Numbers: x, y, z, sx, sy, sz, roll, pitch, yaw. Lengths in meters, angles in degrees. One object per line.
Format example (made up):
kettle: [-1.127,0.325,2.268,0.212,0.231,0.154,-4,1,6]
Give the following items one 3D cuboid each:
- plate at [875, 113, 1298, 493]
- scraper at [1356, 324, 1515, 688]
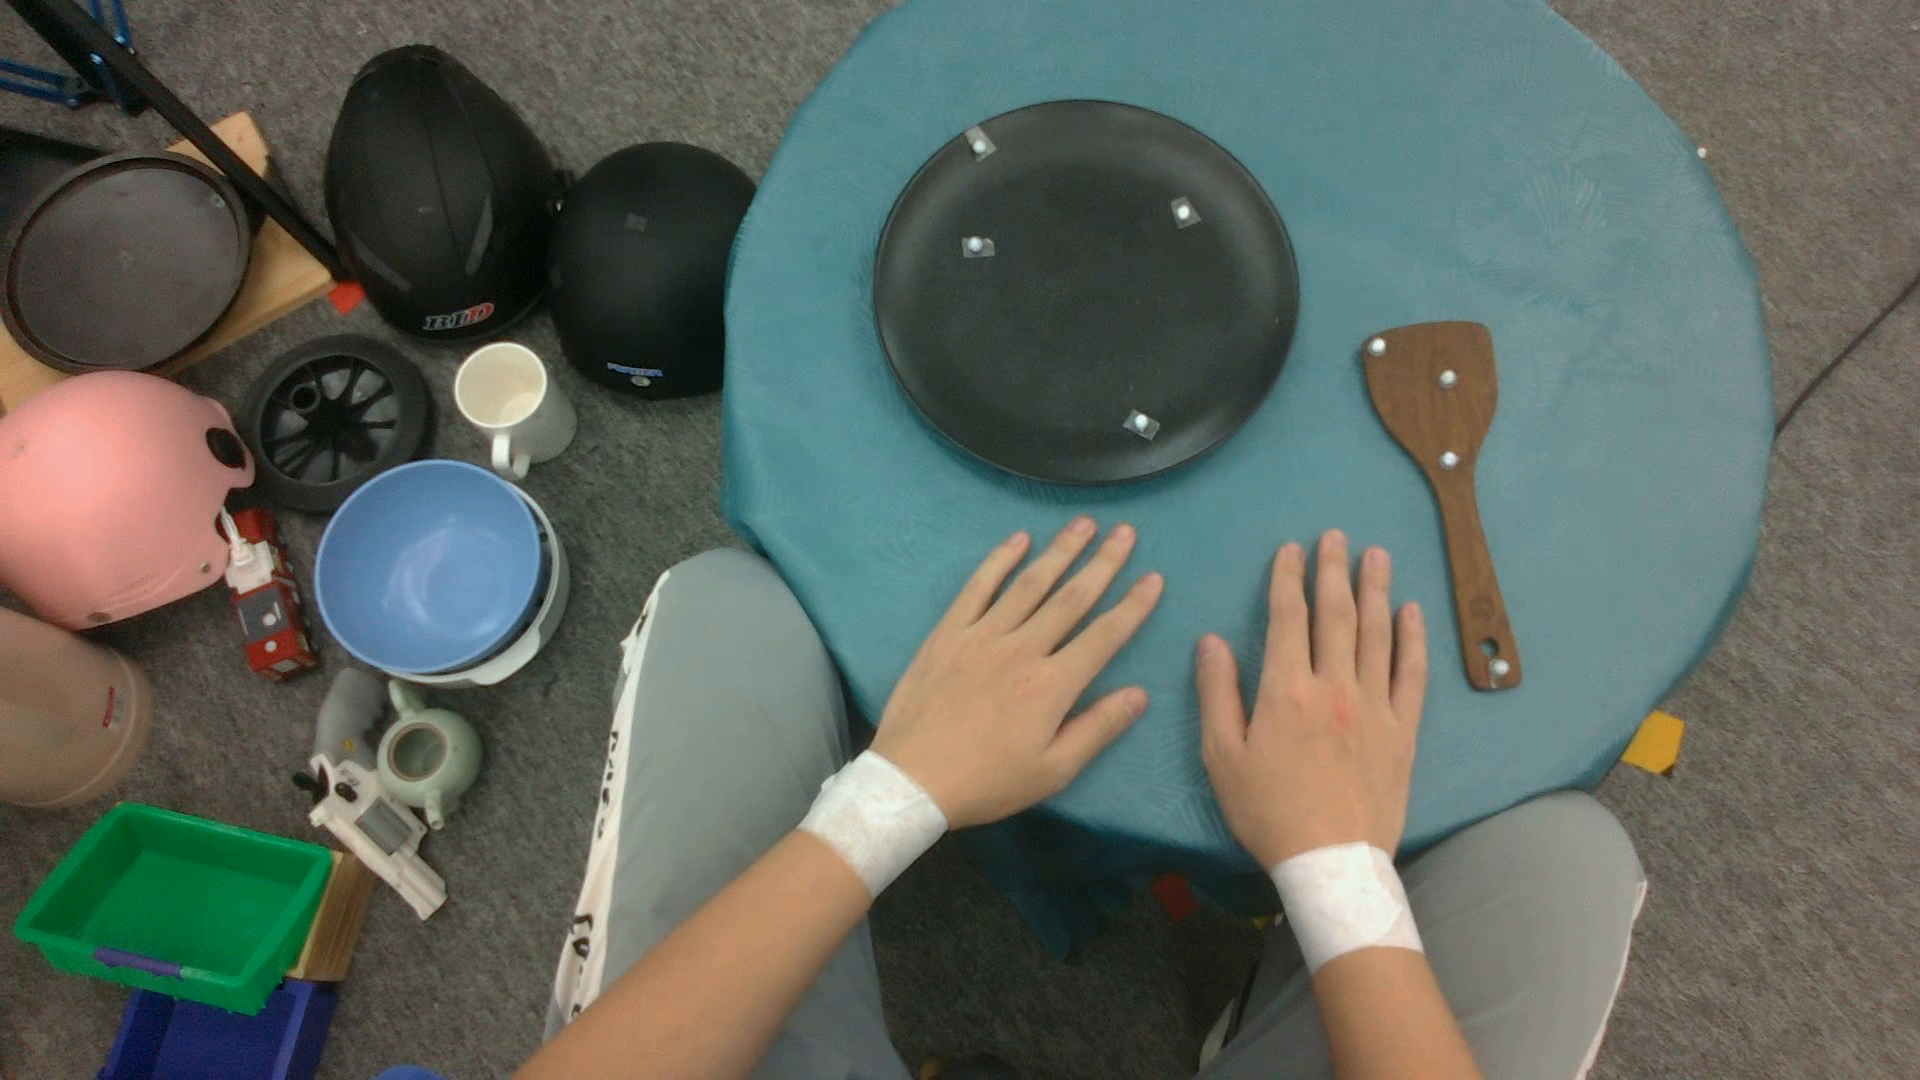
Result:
plate: [0.072,-0.140,0.803,0.244,0.023,0.245,0,72,1]
scraper: [0.274,-0.022,0.767,0.076,0.011,0.212,-6,73,0]
